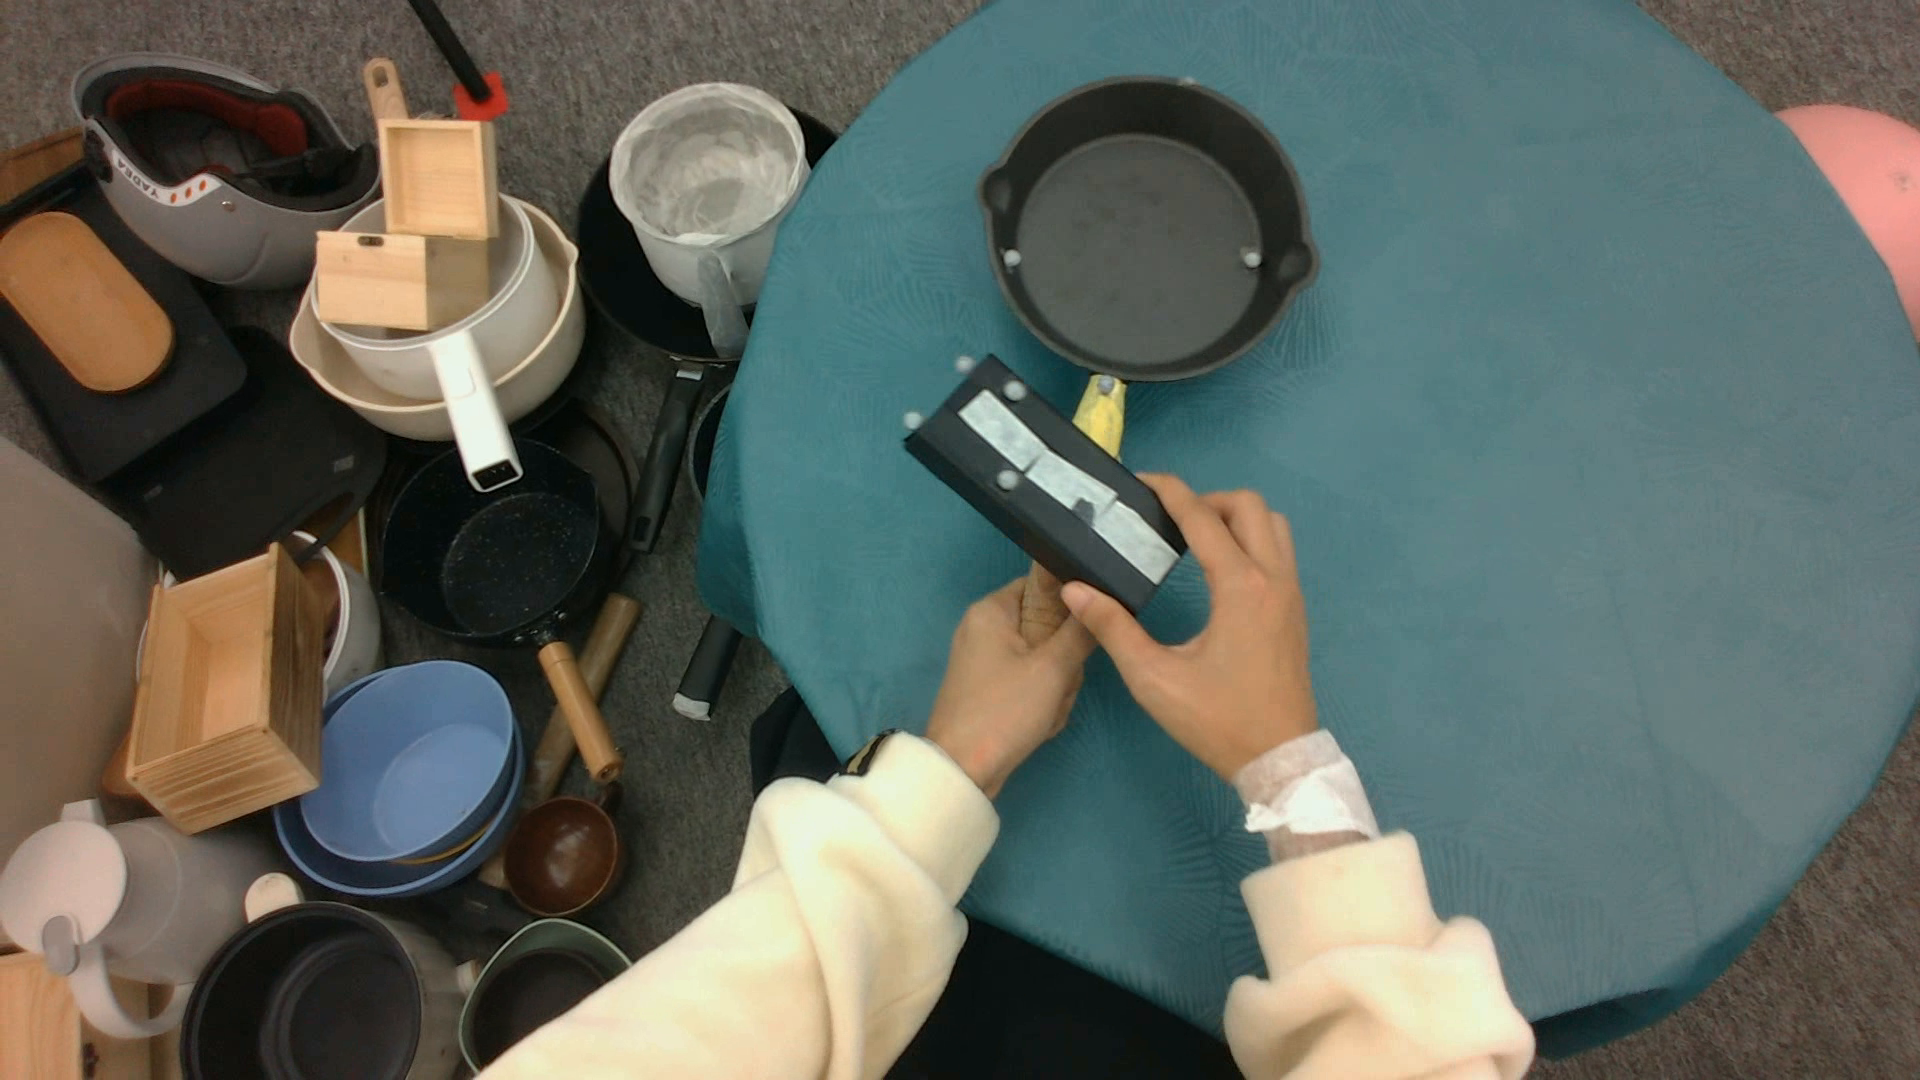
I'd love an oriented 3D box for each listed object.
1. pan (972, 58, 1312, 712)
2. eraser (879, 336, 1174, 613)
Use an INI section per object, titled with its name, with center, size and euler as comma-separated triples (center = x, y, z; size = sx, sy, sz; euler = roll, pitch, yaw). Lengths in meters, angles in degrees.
[pan]
center = 0.062, -0.076, 0.650
size = 0.169, 0.049, 0.325
euler = 17, 79, 0
[eraser]
center = 0.027, -0.027, 0.590
size = 0.125, 0.030, 0.053
euler = 40, 72, 0
